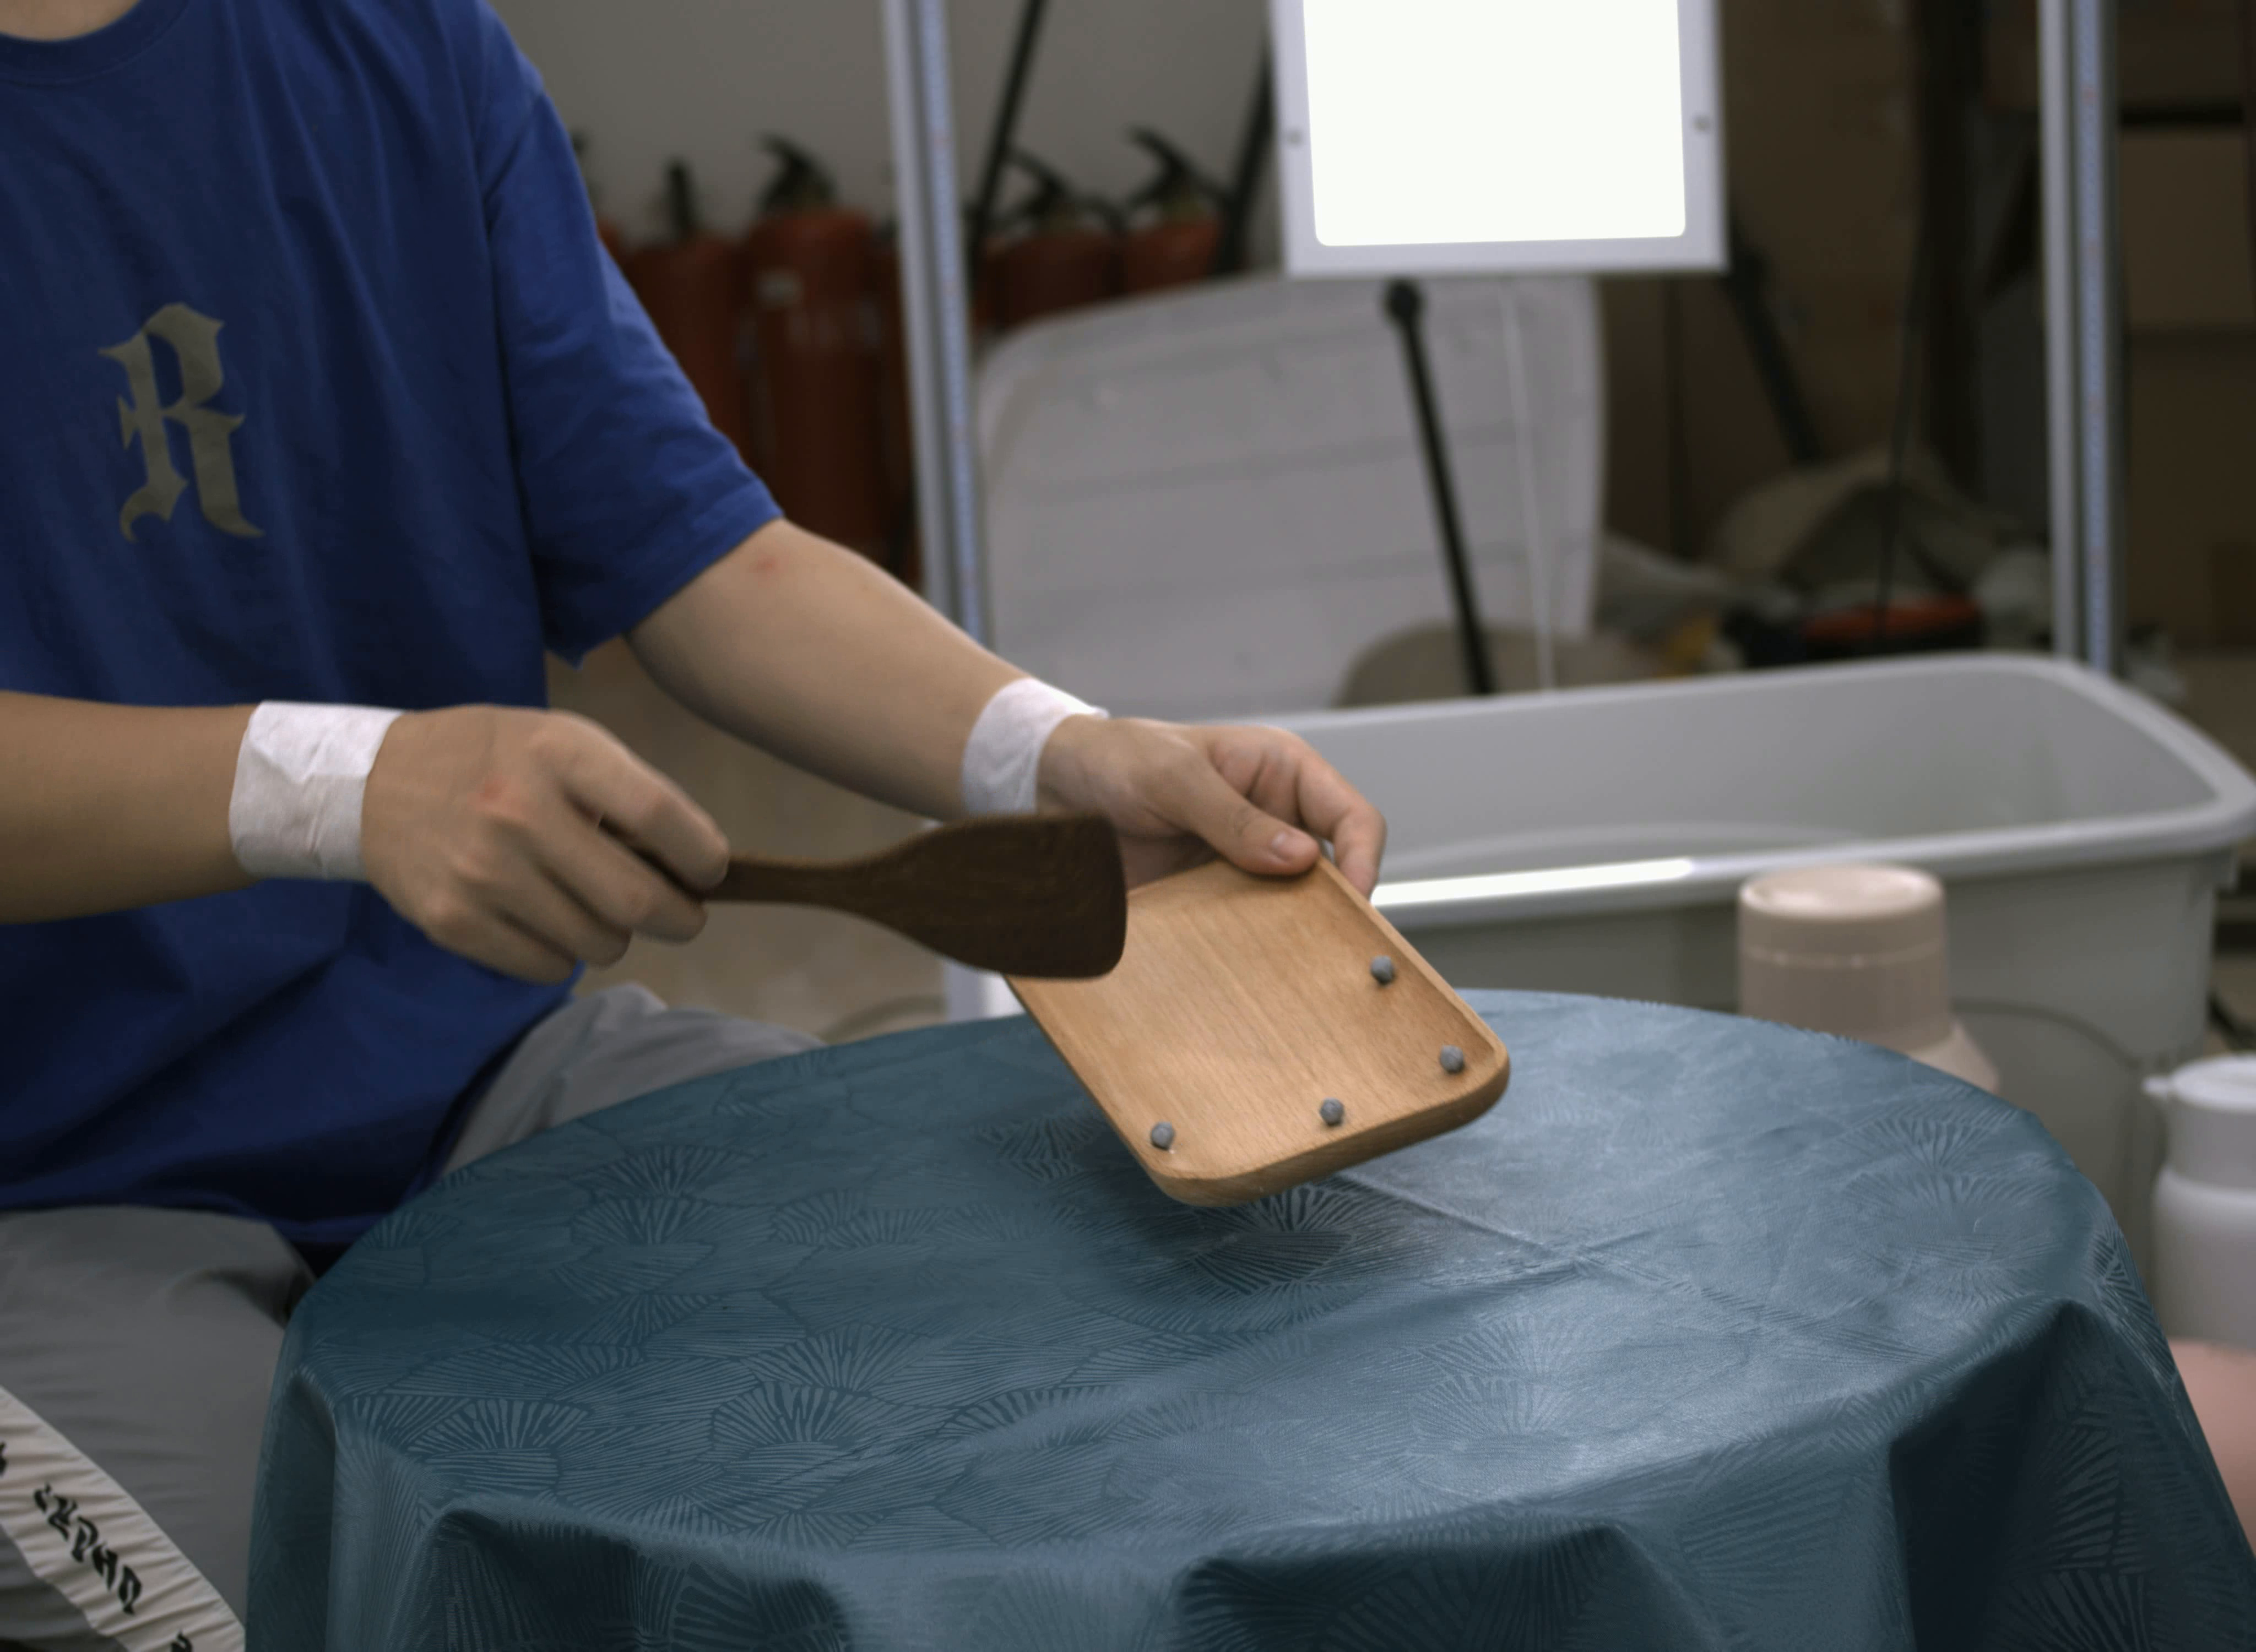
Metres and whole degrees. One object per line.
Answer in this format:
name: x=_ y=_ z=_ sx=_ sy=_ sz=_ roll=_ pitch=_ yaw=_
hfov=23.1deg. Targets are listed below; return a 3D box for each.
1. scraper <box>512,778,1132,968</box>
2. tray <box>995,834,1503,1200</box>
scraper: x=-0.103 y=0.013 z=1.836 sx=0.212 sy=0.076 sz=0.011 roll=3 pitch=38 yaw=12
tray: x=0.039 y=0.063 z=1.898 sx=0.129 sy=0.023 sz=0.252 roll=-17 pitch=21 yaw=-8
